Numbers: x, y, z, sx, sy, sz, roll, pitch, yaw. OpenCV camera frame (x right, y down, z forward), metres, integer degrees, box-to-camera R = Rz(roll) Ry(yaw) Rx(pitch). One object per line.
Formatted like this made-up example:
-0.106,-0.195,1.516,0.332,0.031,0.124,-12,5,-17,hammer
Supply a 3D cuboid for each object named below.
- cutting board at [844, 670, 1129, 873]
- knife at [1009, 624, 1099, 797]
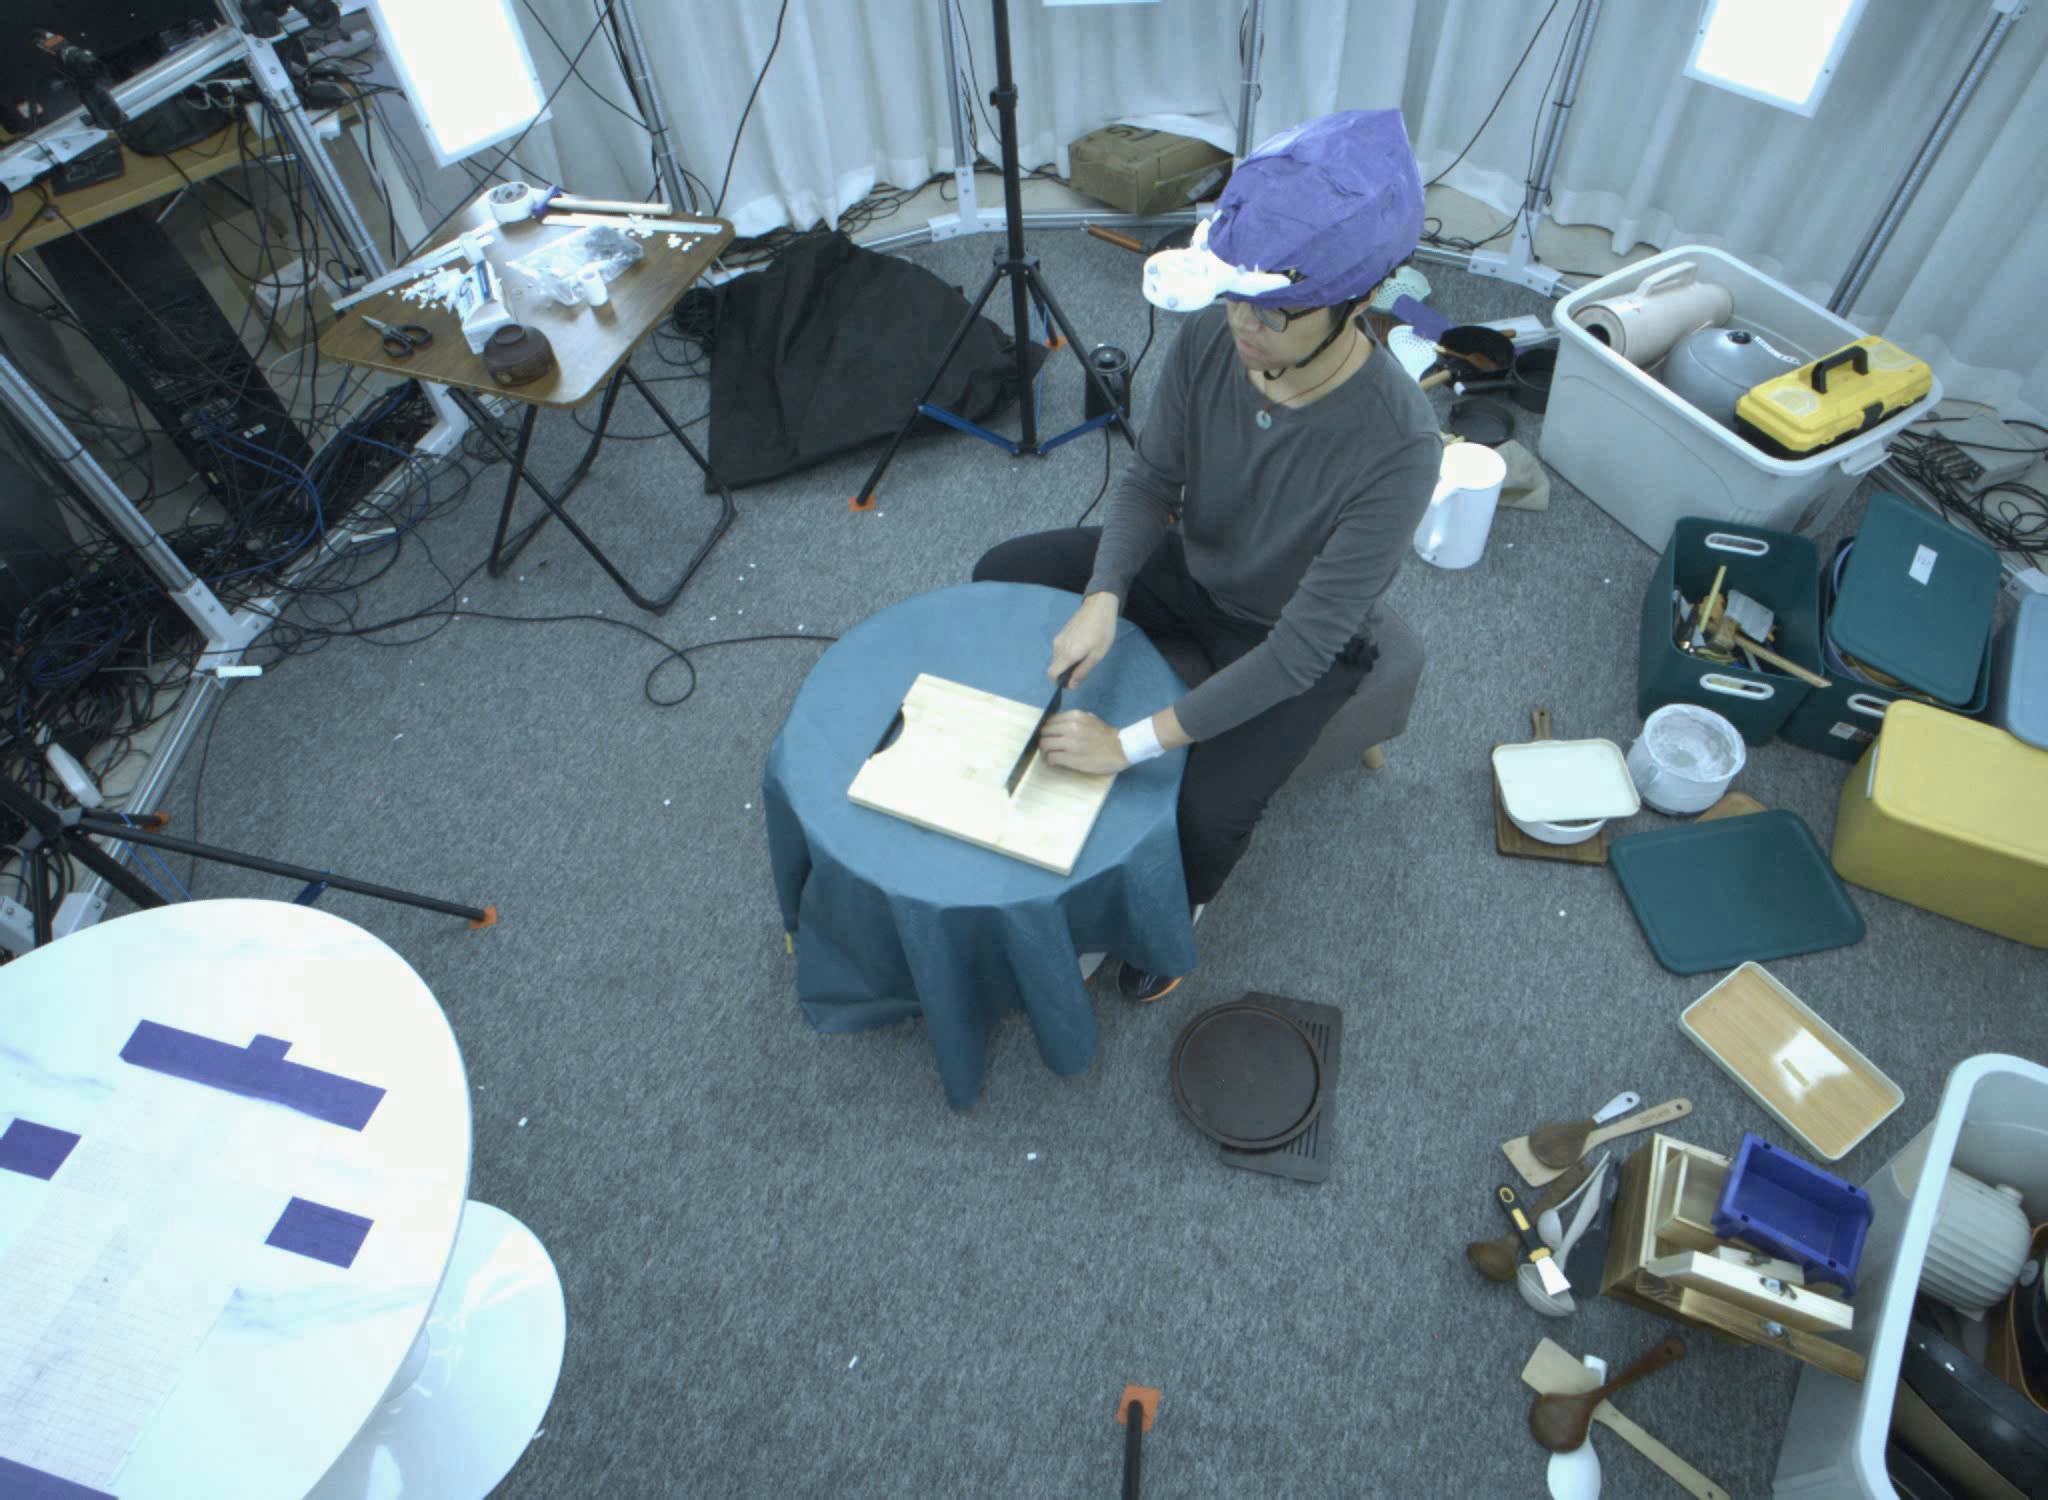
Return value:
-0.053,0.024,1.769,0.345,0.024,0.250,17,56,13,cutting board
0.041,-0.064,1.757,0.020,0.081,0.302,21,63,12,knife
